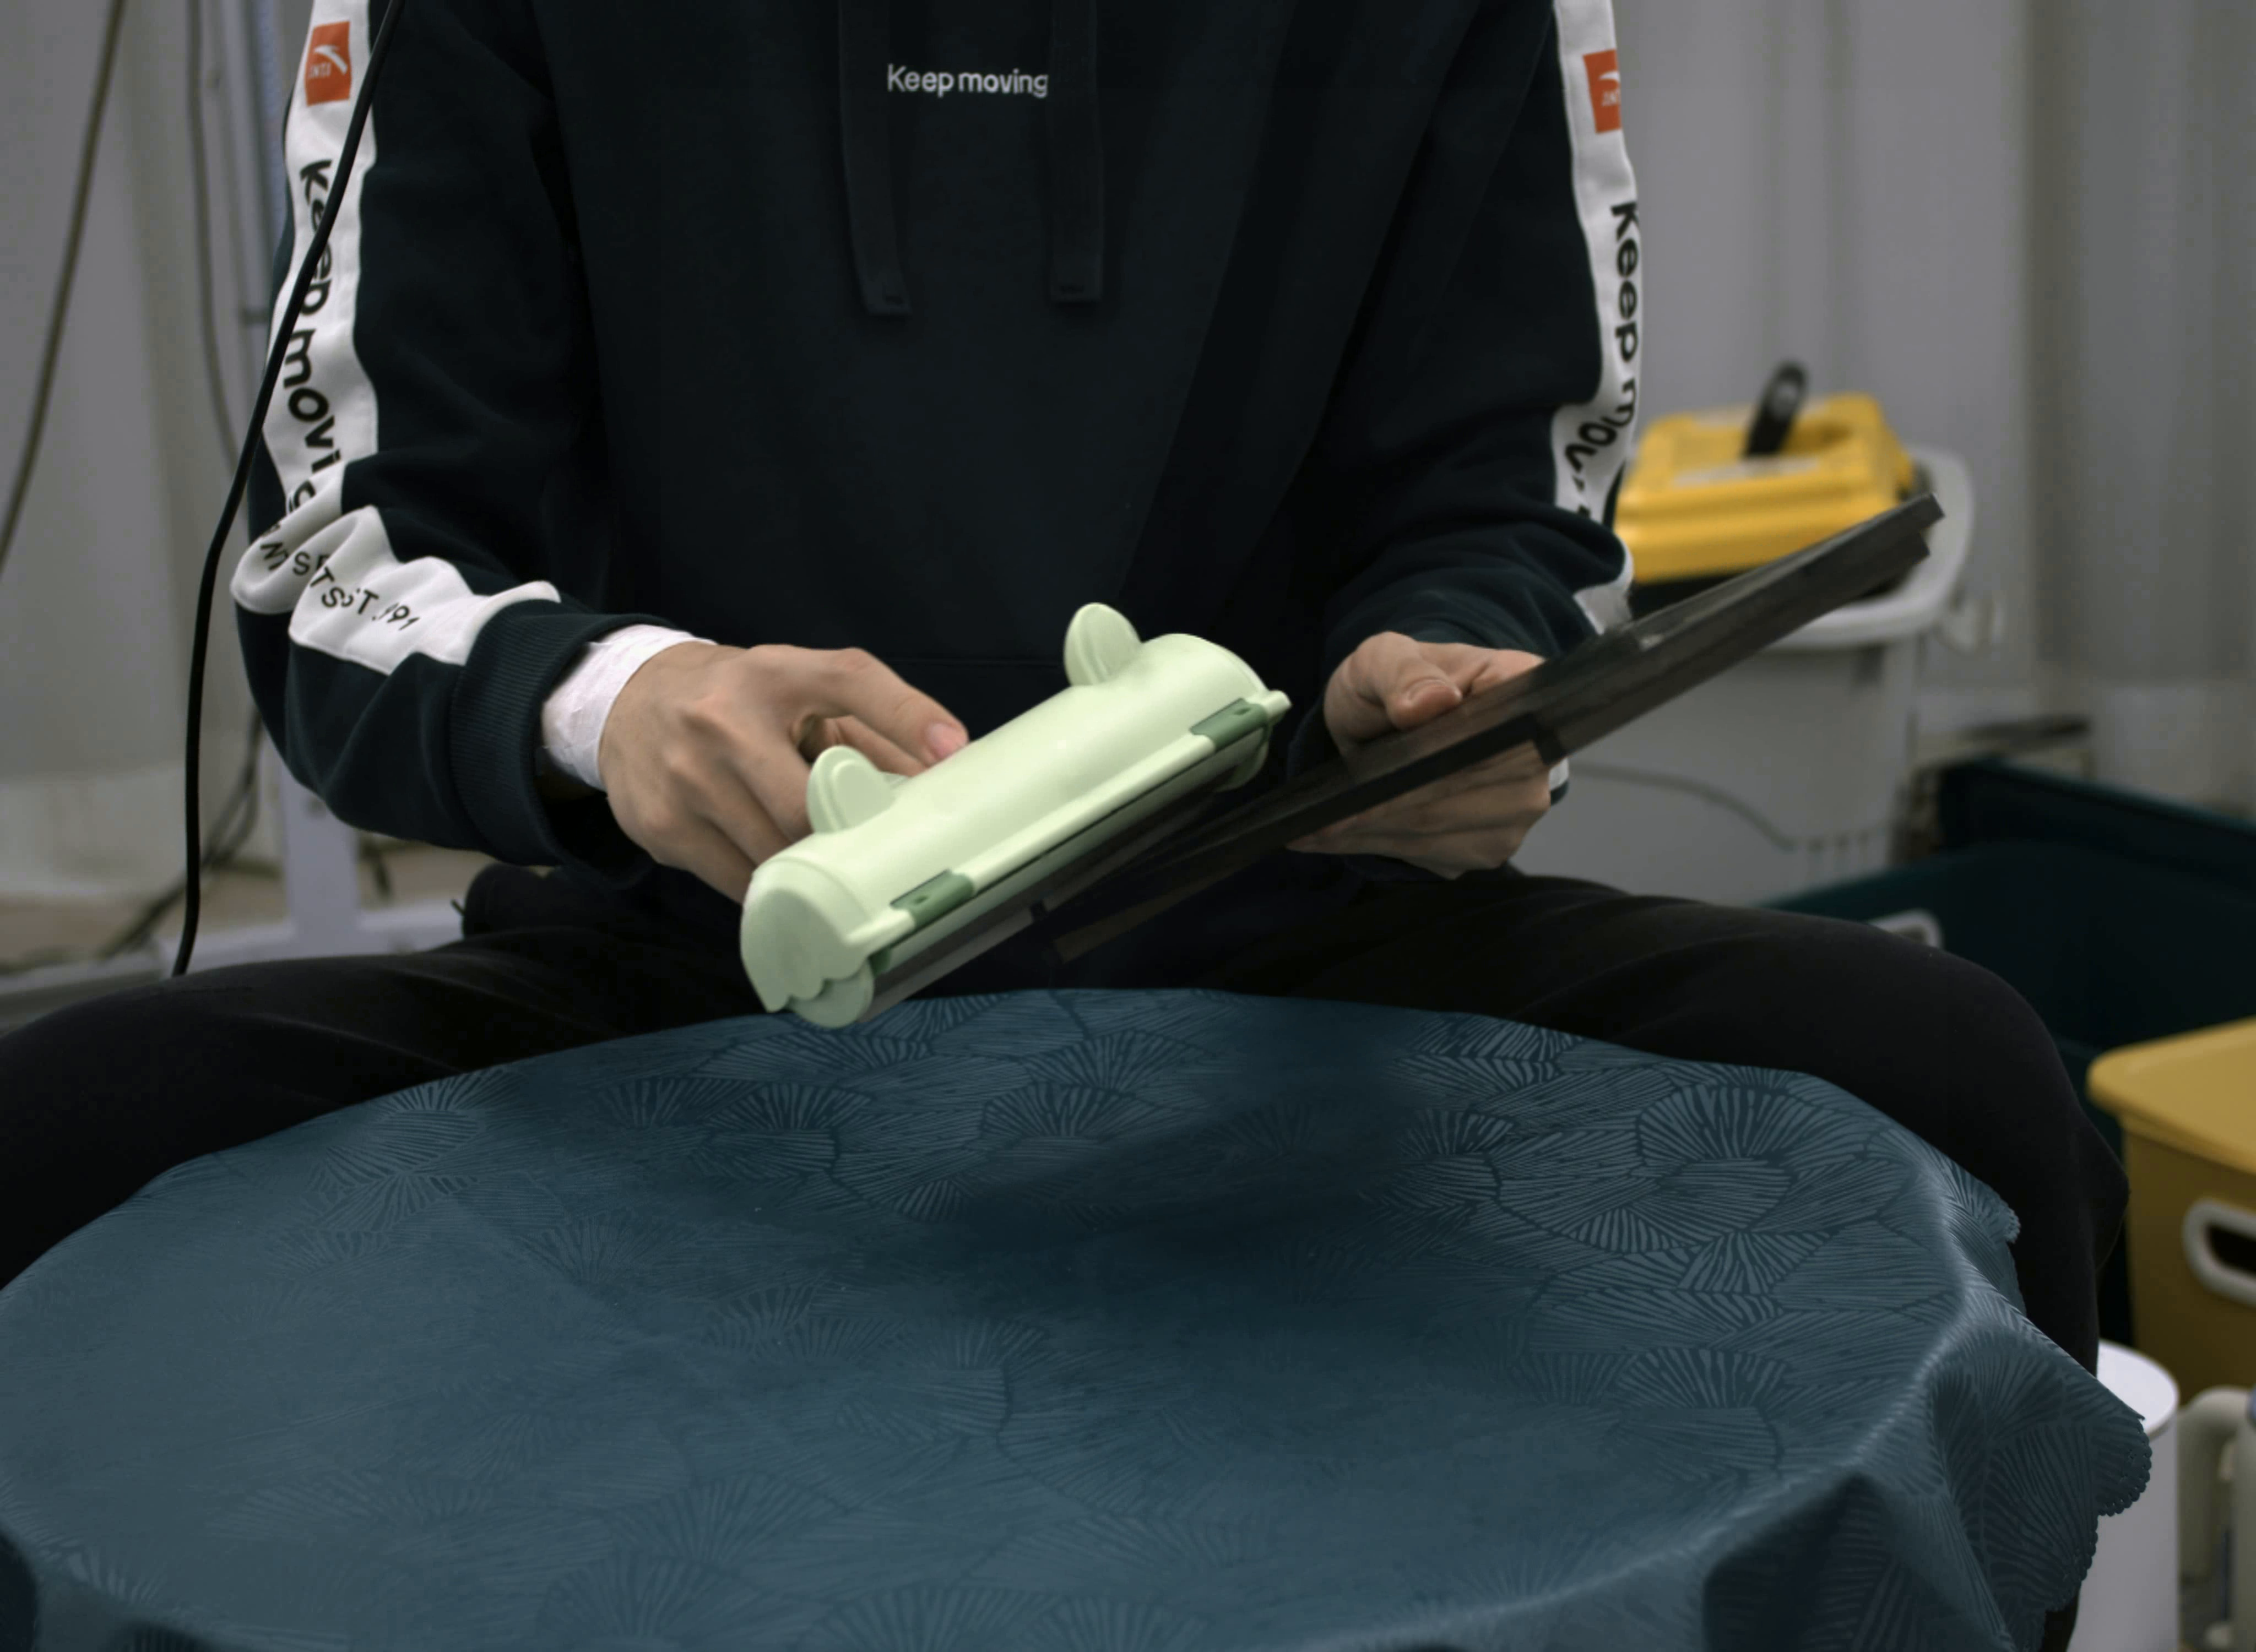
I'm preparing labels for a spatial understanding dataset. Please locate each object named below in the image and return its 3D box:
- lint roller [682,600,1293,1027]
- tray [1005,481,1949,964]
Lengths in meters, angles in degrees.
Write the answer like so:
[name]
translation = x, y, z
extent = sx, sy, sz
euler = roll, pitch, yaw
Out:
[lint roller]
translation = -0.076, -0.017, 1.684
extent = 0.184, 0.081, 0.199
euler = 13, 31, 40
[tray]
translation = 0.100, -0.025, 1.635
extent = 0.170, 0.018, 0.305
euler = -28, 2, -35
